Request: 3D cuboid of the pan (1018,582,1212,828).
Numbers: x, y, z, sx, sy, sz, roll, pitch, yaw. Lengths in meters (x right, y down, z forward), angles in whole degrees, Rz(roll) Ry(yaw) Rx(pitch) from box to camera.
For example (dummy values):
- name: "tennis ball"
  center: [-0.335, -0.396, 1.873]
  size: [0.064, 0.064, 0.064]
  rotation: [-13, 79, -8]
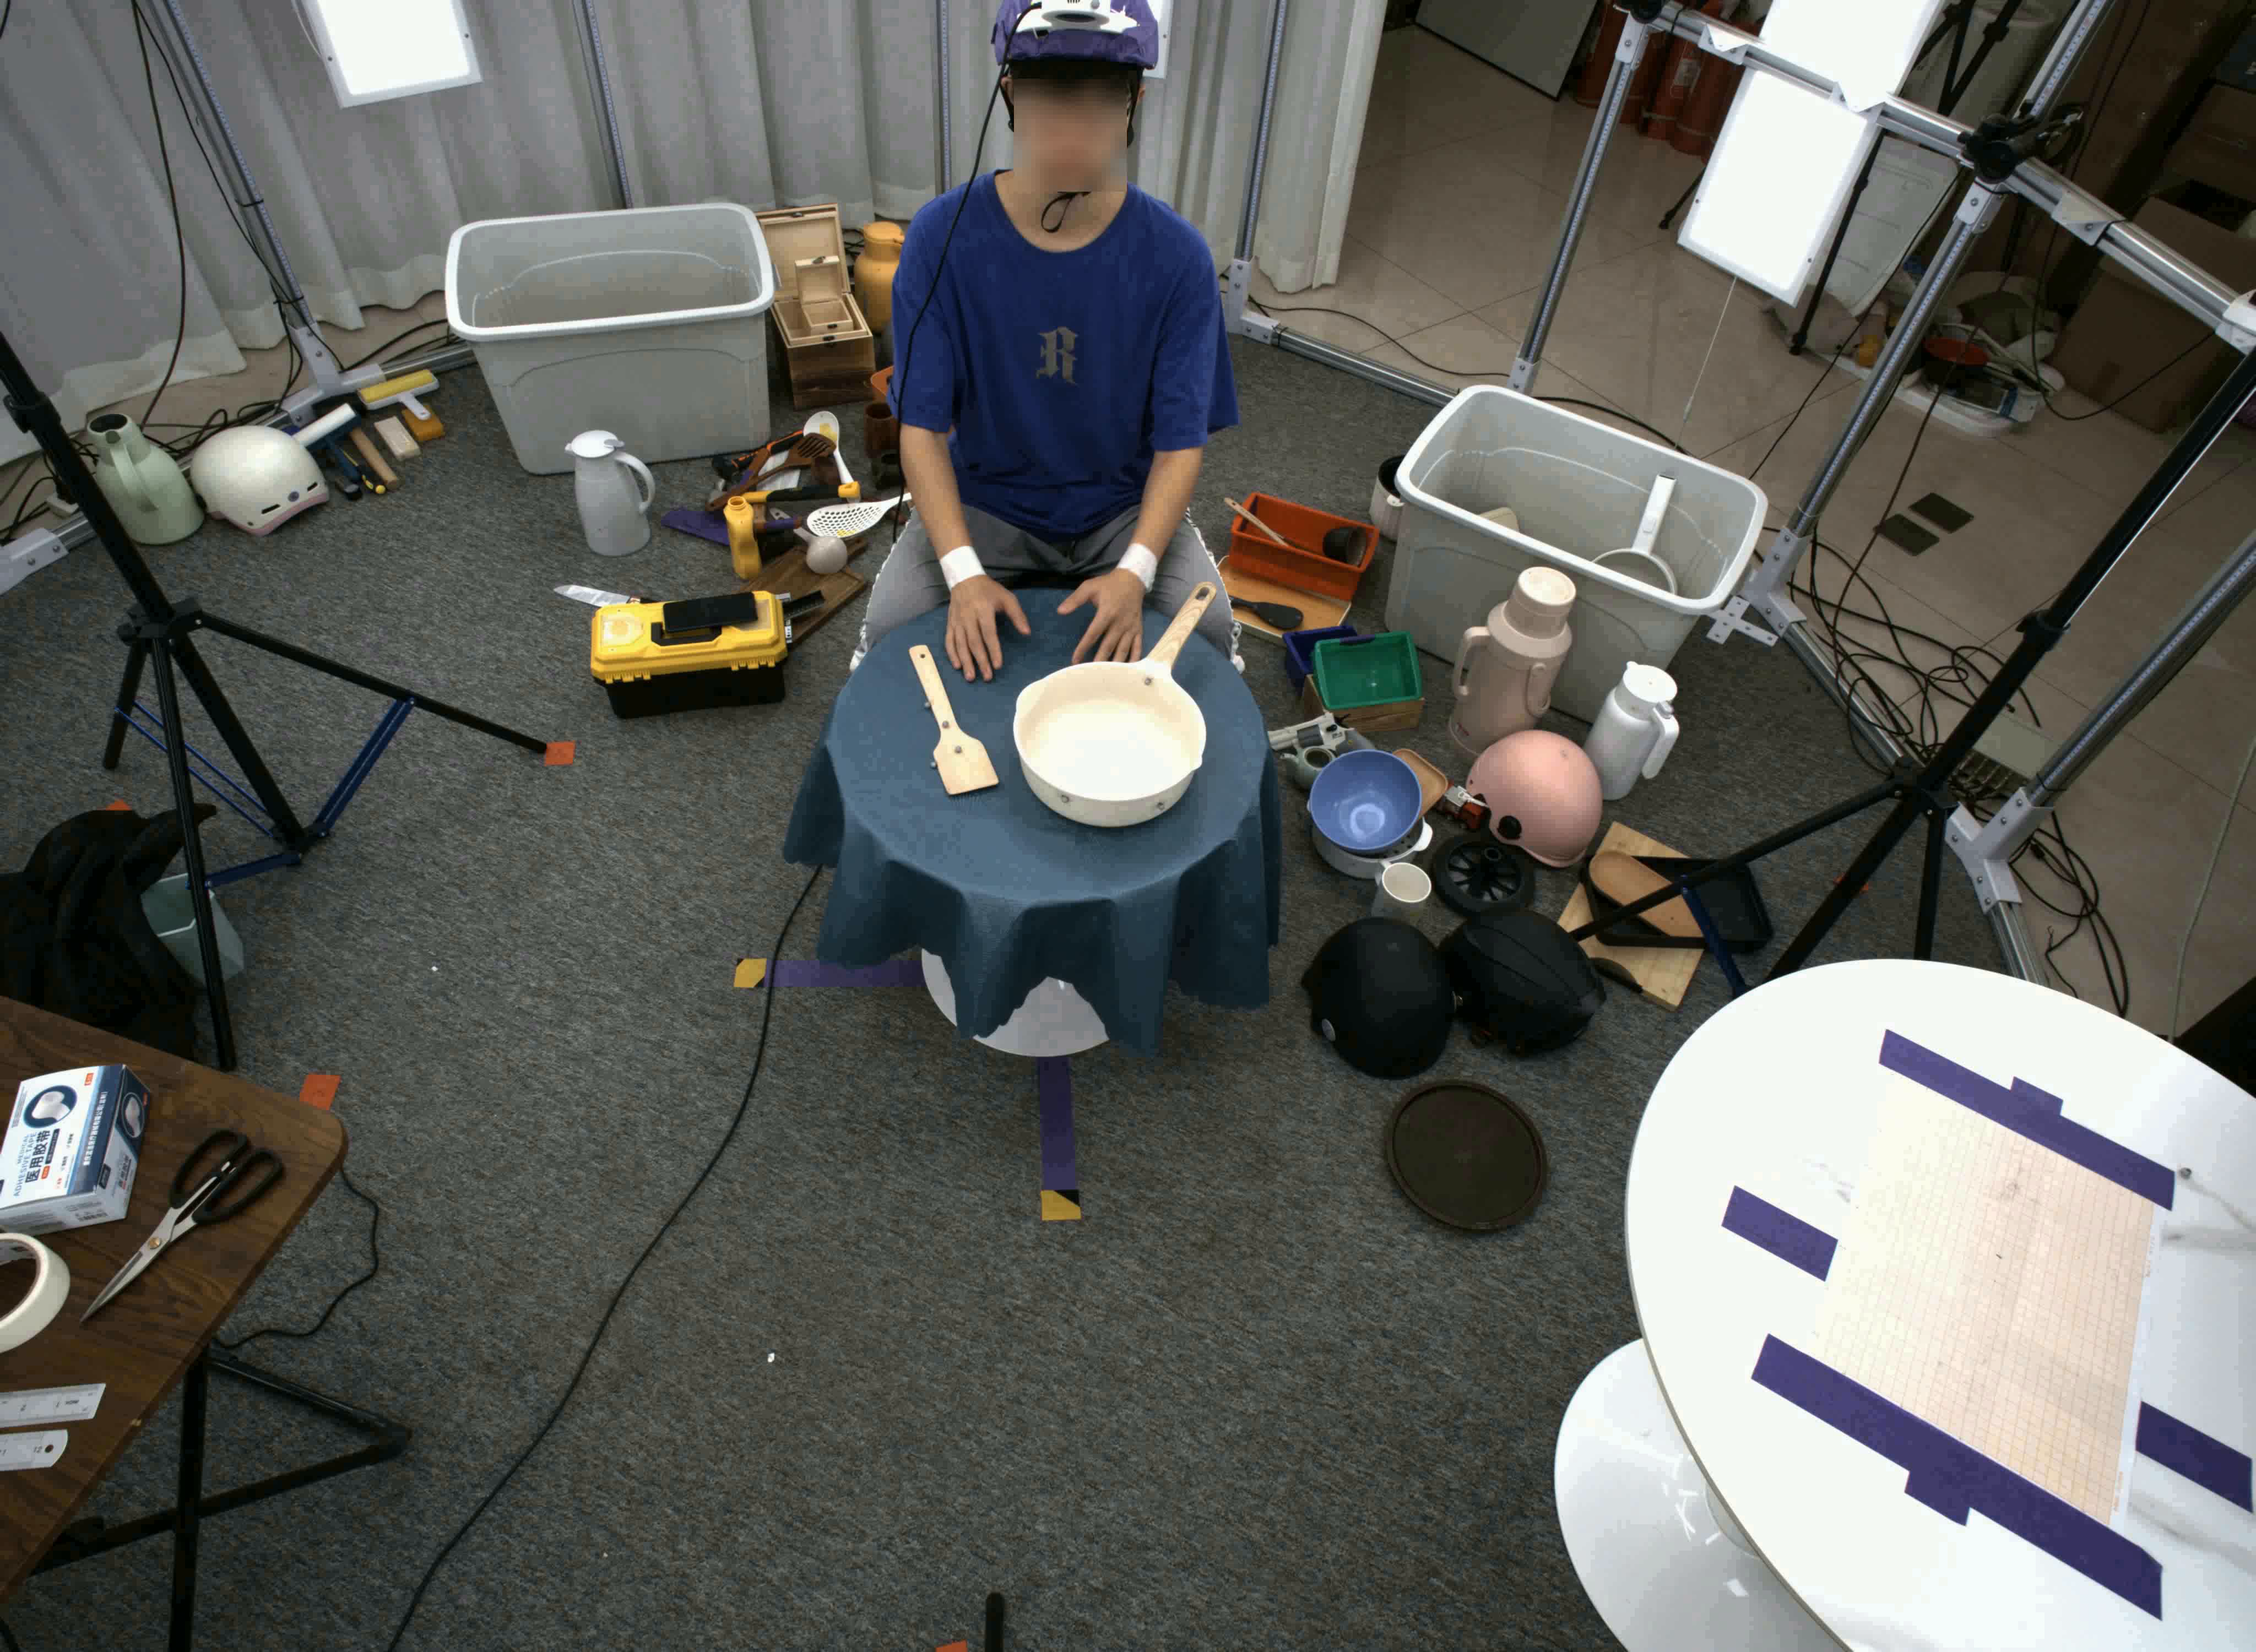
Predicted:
- name: "pan"
  center: [0.020, -0.170, 1.756]
  size: [0.265, 0.099, 0.442]
  rotation: [21, 51, 15]

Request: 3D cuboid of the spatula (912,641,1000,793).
- name: "spatula"
  center: [-0.253, -0.157, 1.787]
  size: [0.072, 0.010, 0.300]
  rotation: [-15, 53, -14]
